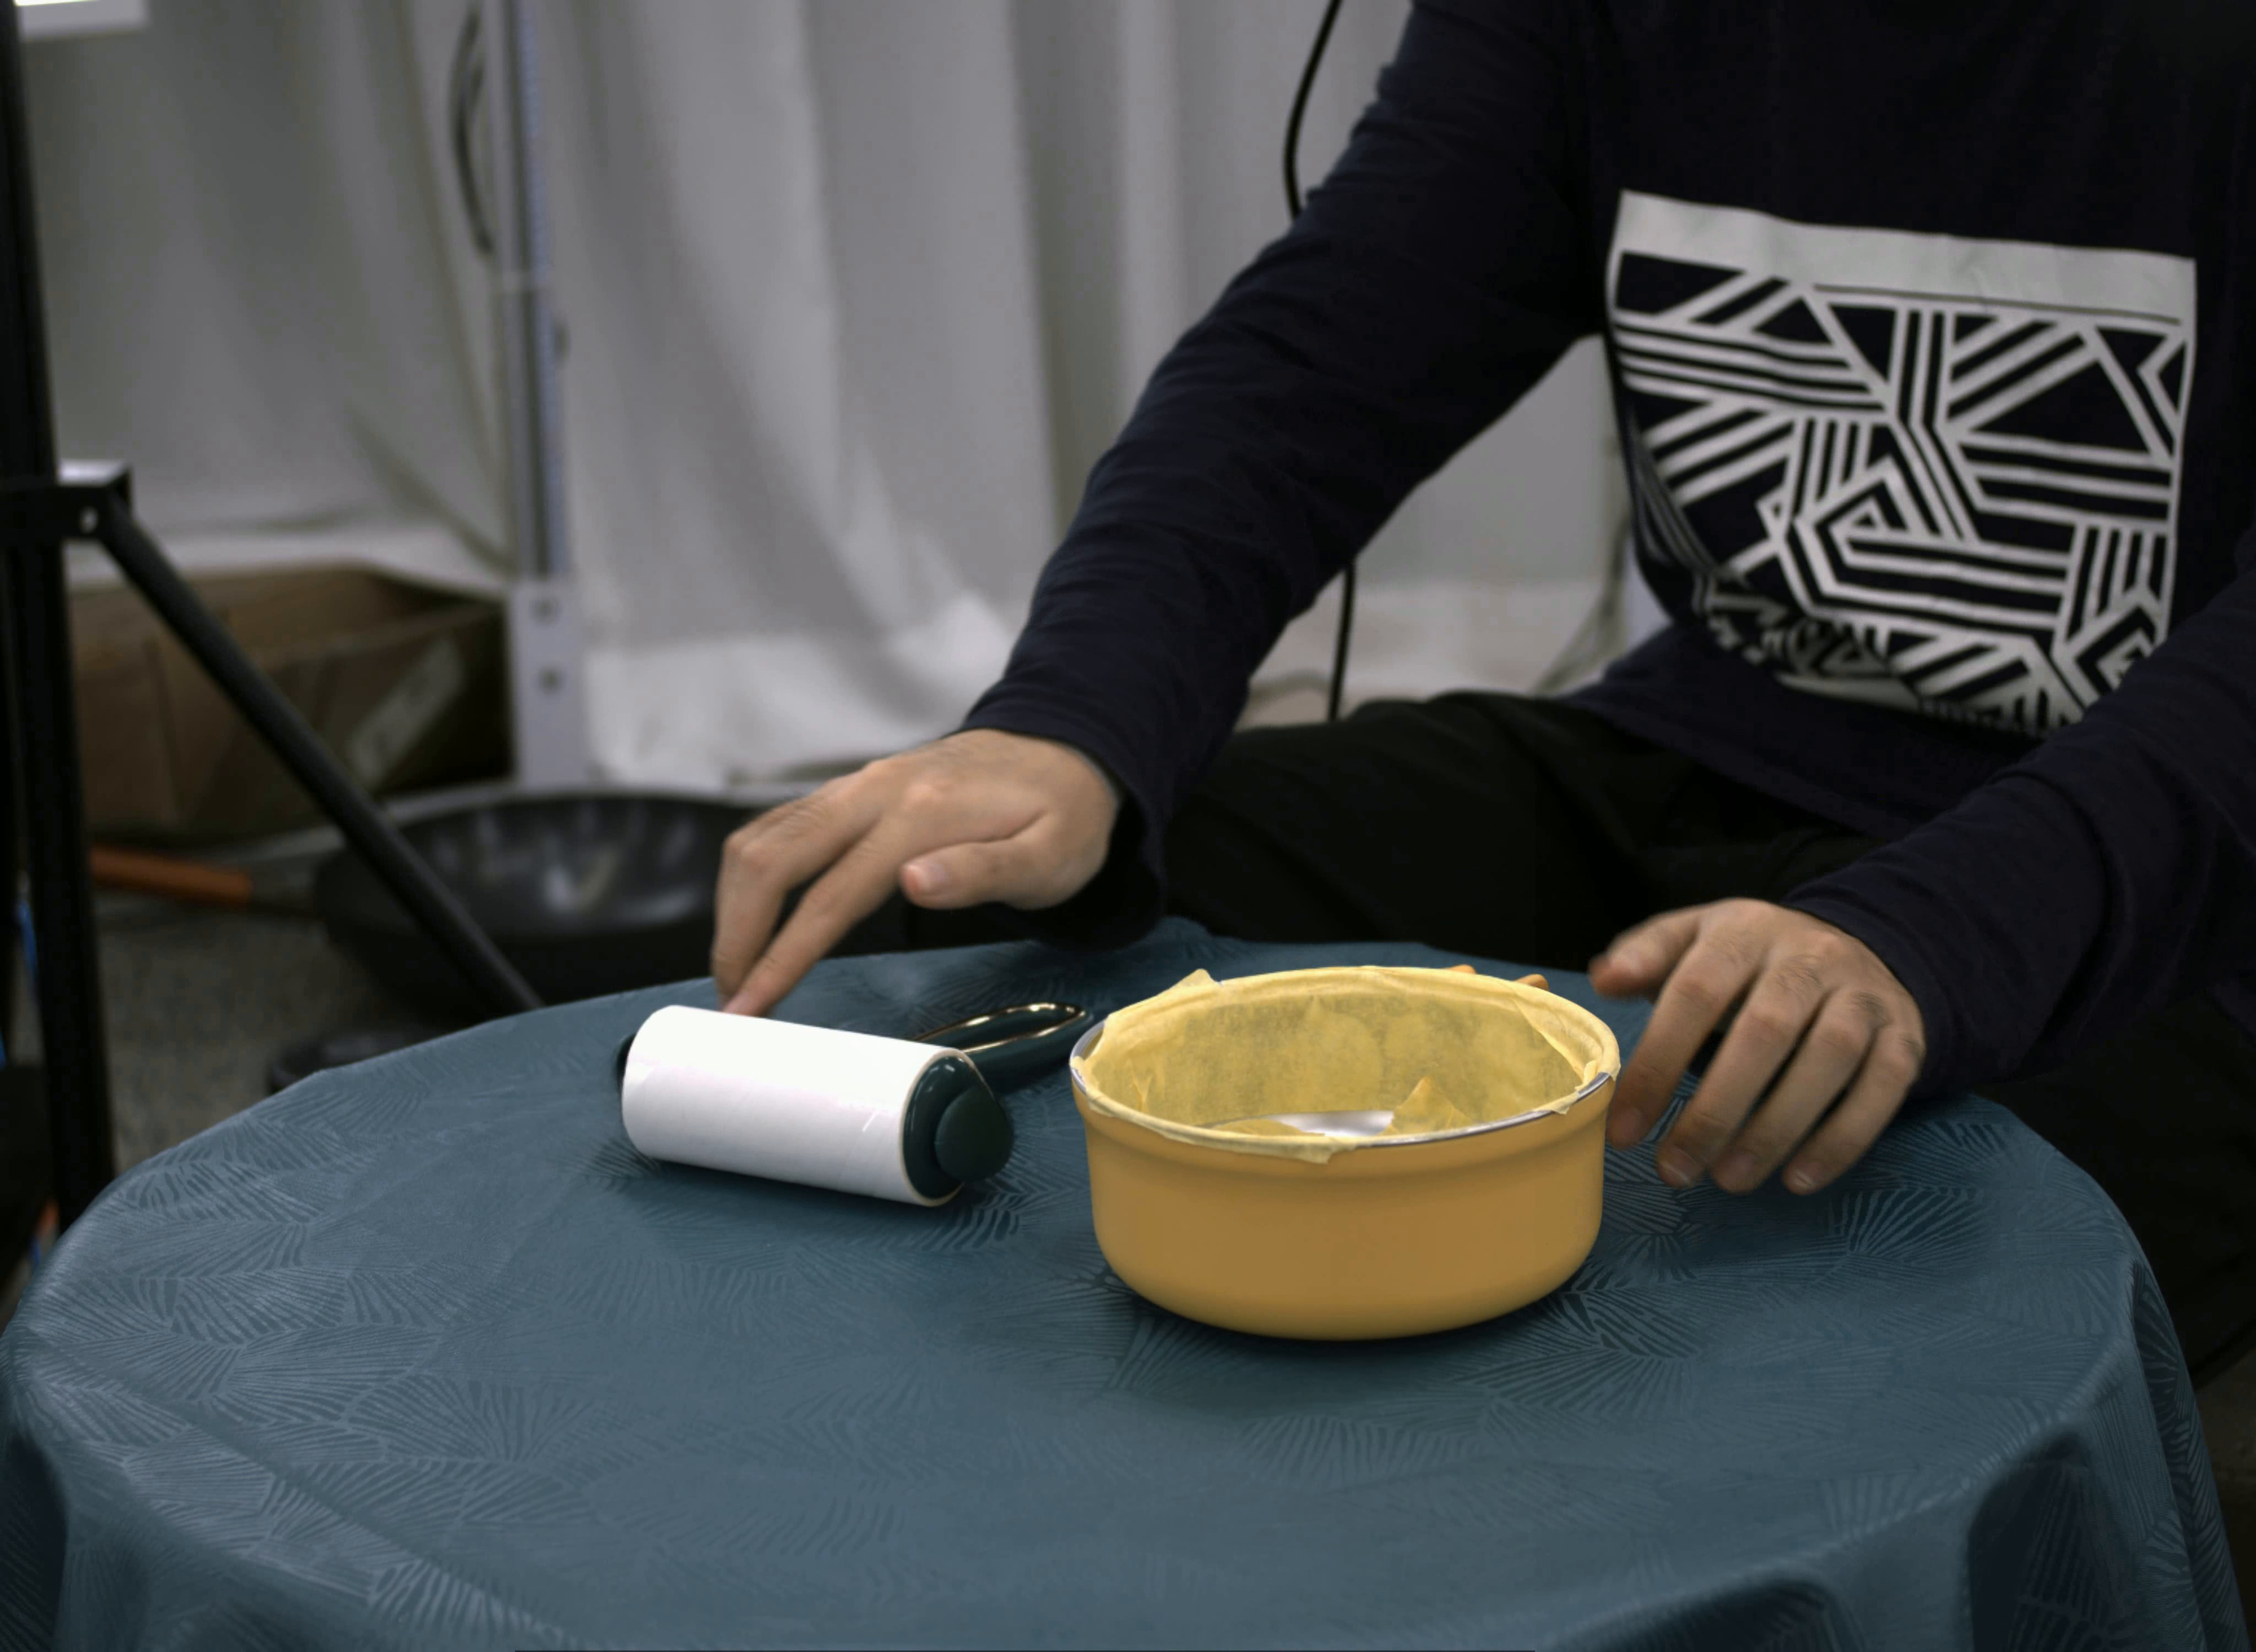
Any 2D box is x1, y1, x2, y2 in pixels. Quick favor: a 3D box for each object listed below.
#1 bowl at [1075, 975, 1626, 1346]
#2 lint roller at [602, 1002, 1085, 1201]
[{"bbox_3d":[0.069,0.092,1.488,0.155,0.074,0.176,3,17,26],"label":"bowl"},{"bbox_3d":[-0.064,0.070,1.636,0.137,0.048,0.176,7,14,31],"label":"lint roller"}]
